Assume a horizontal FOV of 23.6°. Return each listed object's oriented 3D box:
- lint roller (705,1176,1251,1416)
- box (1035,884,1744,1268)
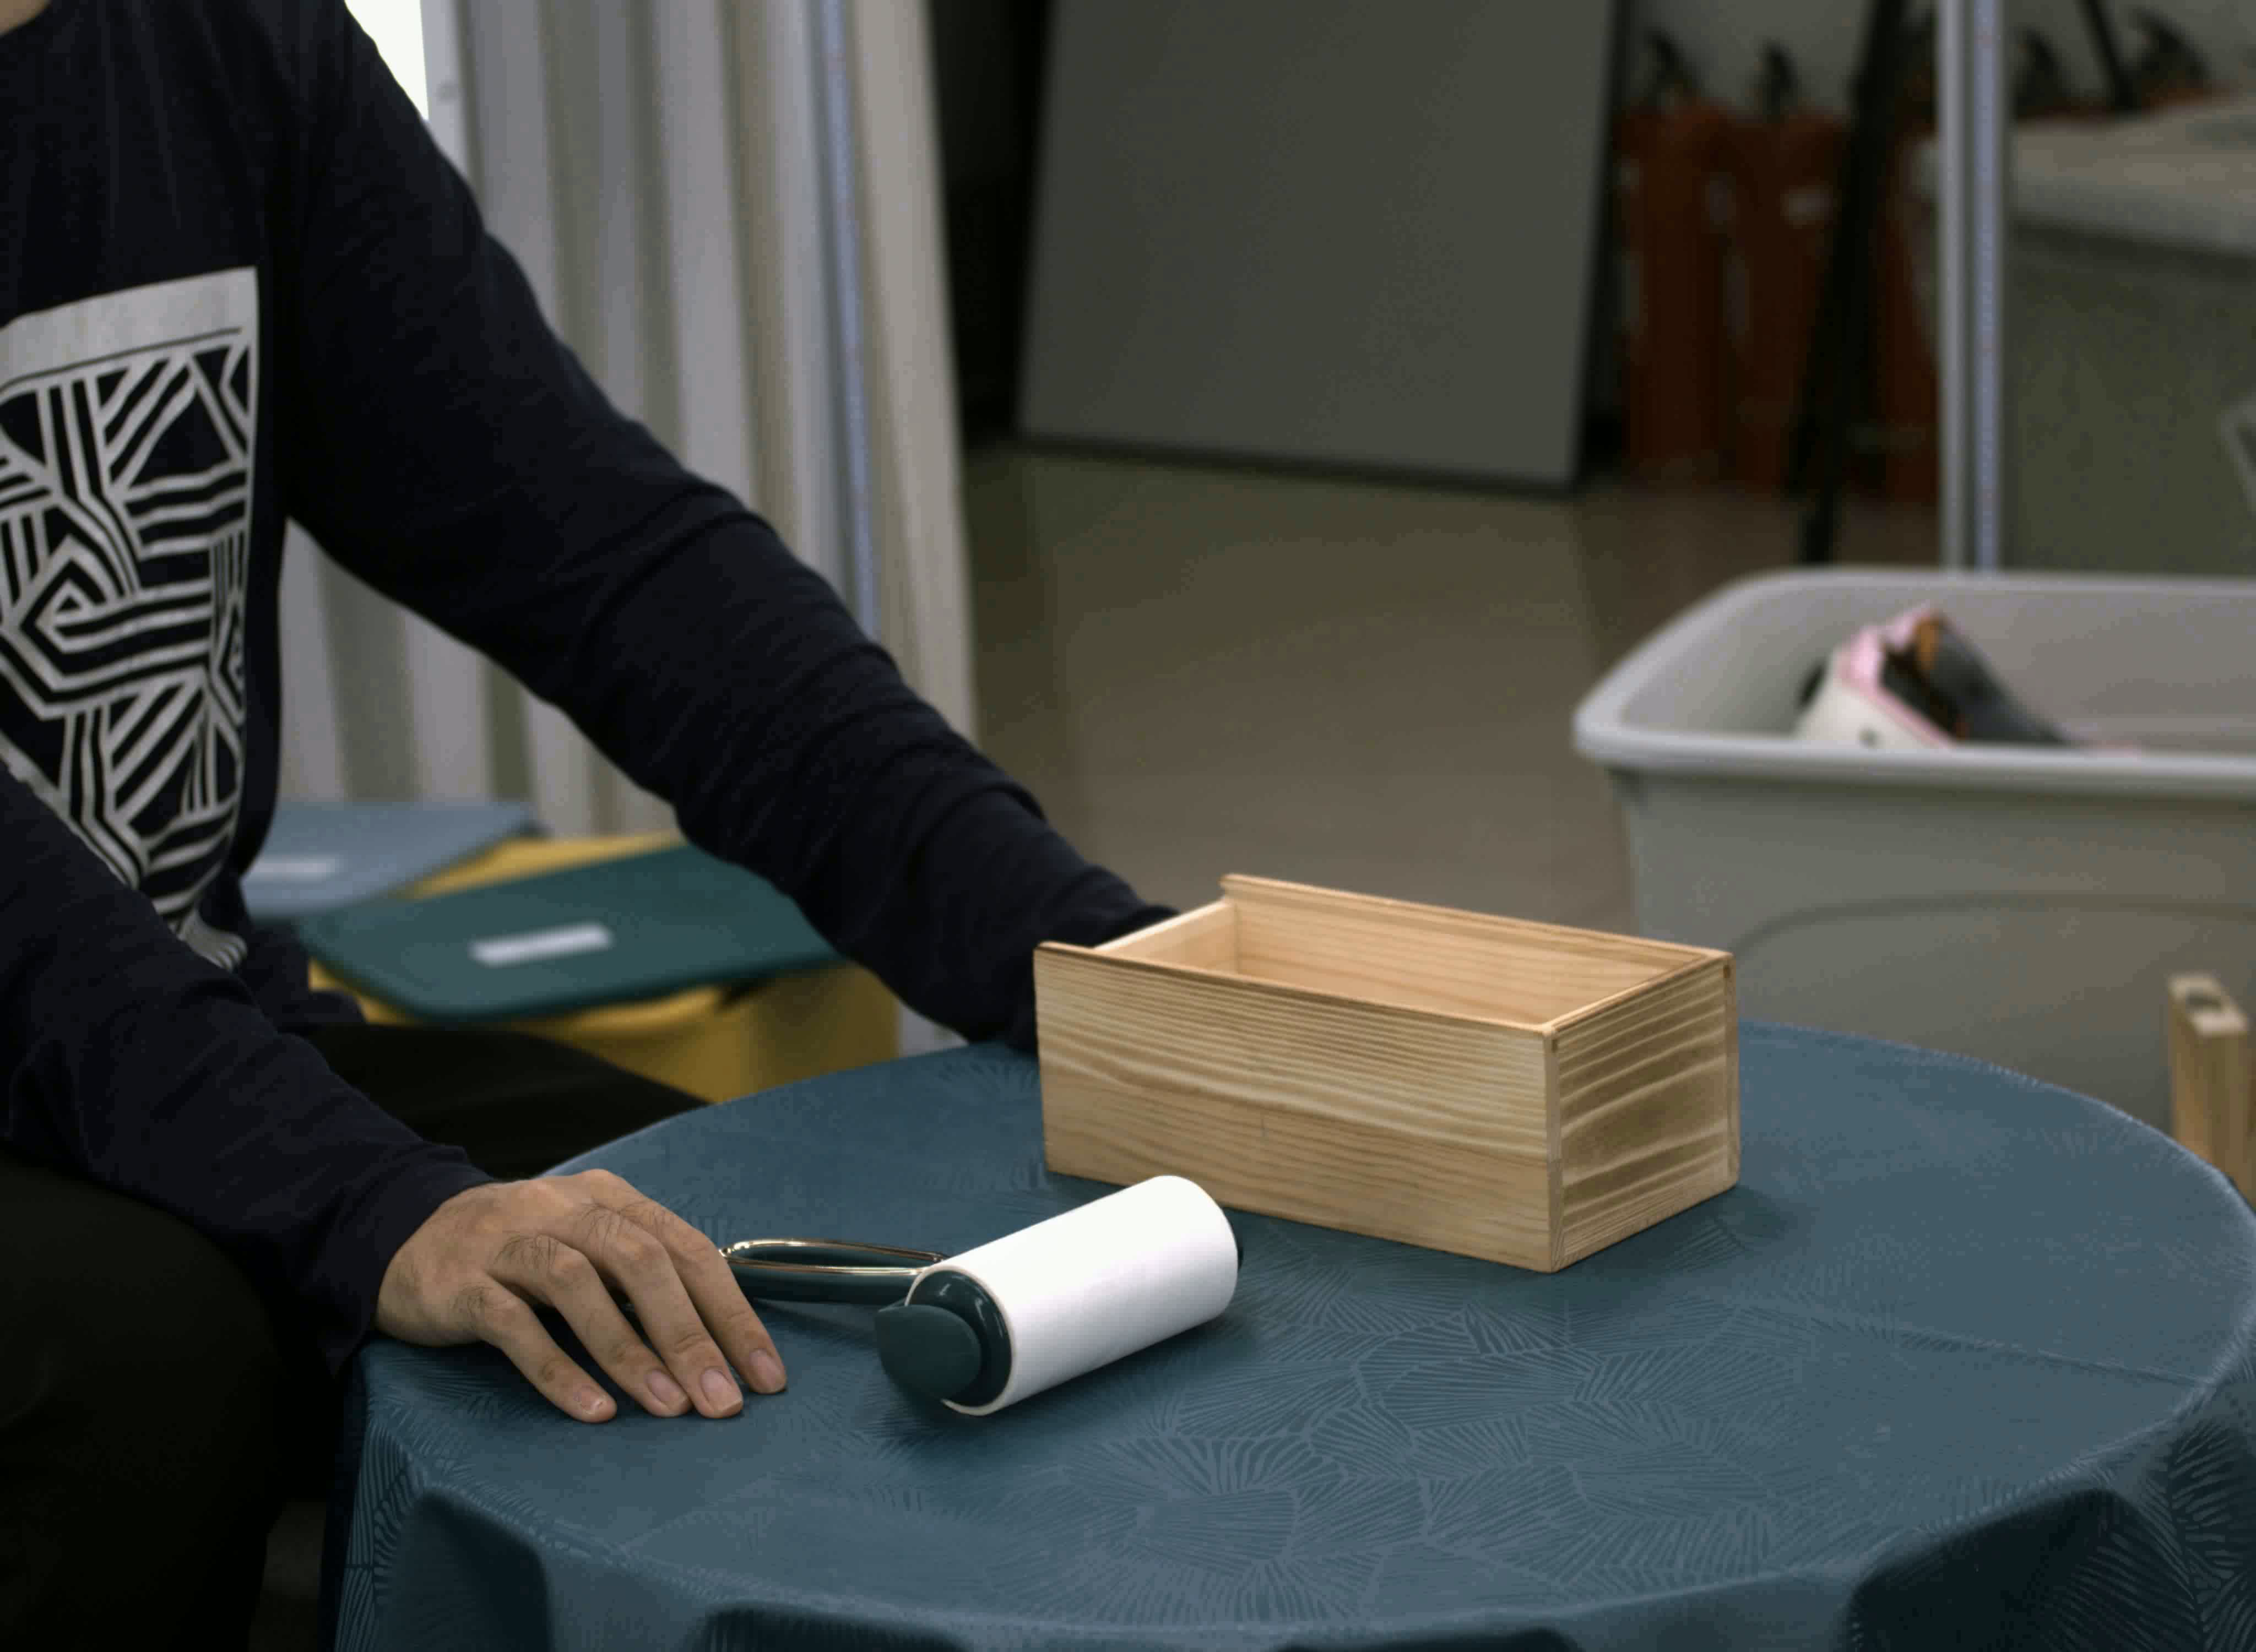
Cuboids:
[{"bbox_3d":[-0.066,0.135,1.650,0.181,0.049,0.131,4,15,43],"label":"lint roller"},{"bbox_3d":[0.084,0.079,1.758,0.213,0.081,0.105,5,17,41],"label":"box"}]
